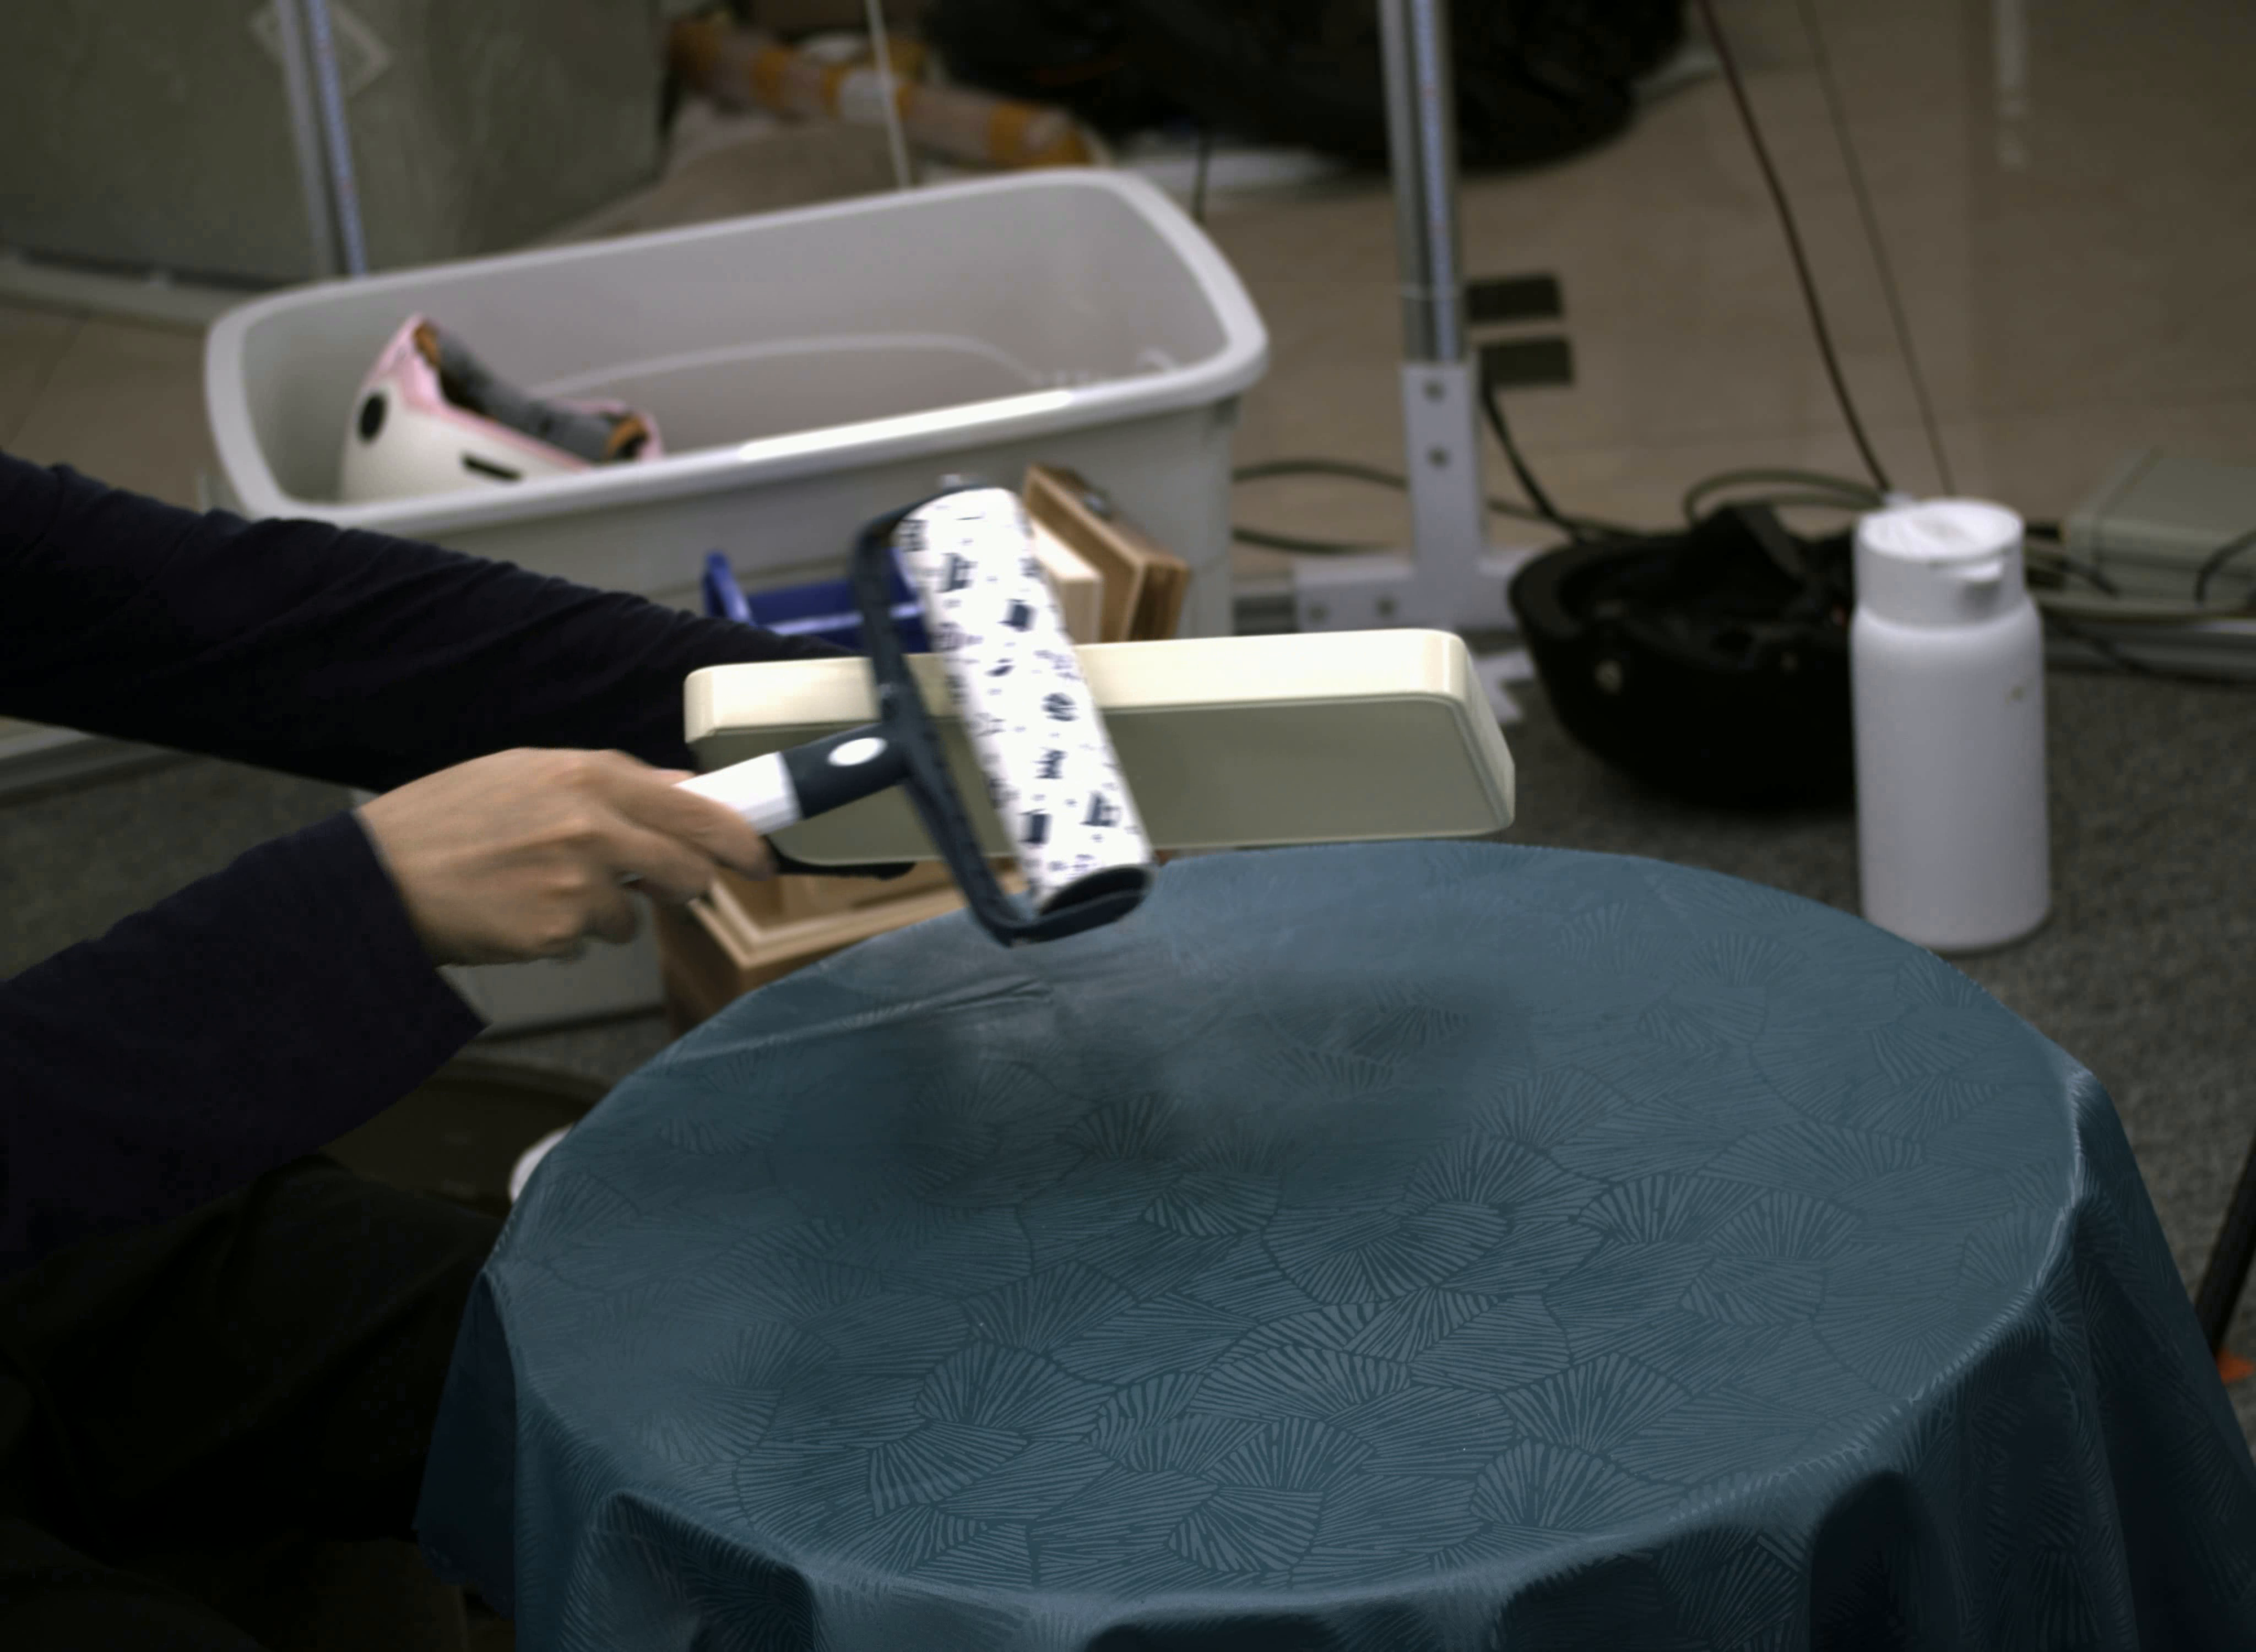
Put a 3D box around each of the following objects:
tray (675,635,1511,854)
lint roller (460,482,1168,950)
[{"bbox_3d":[-0.010,-0.029,2.187,0.300,0.027,0.193,-3,-15,11],"label":"tray"},{"bbox_3d":[-0.125,-0.011,2.060,0.246,0.051,0.174,-19,71,-5],"label":"lint roller"}]
